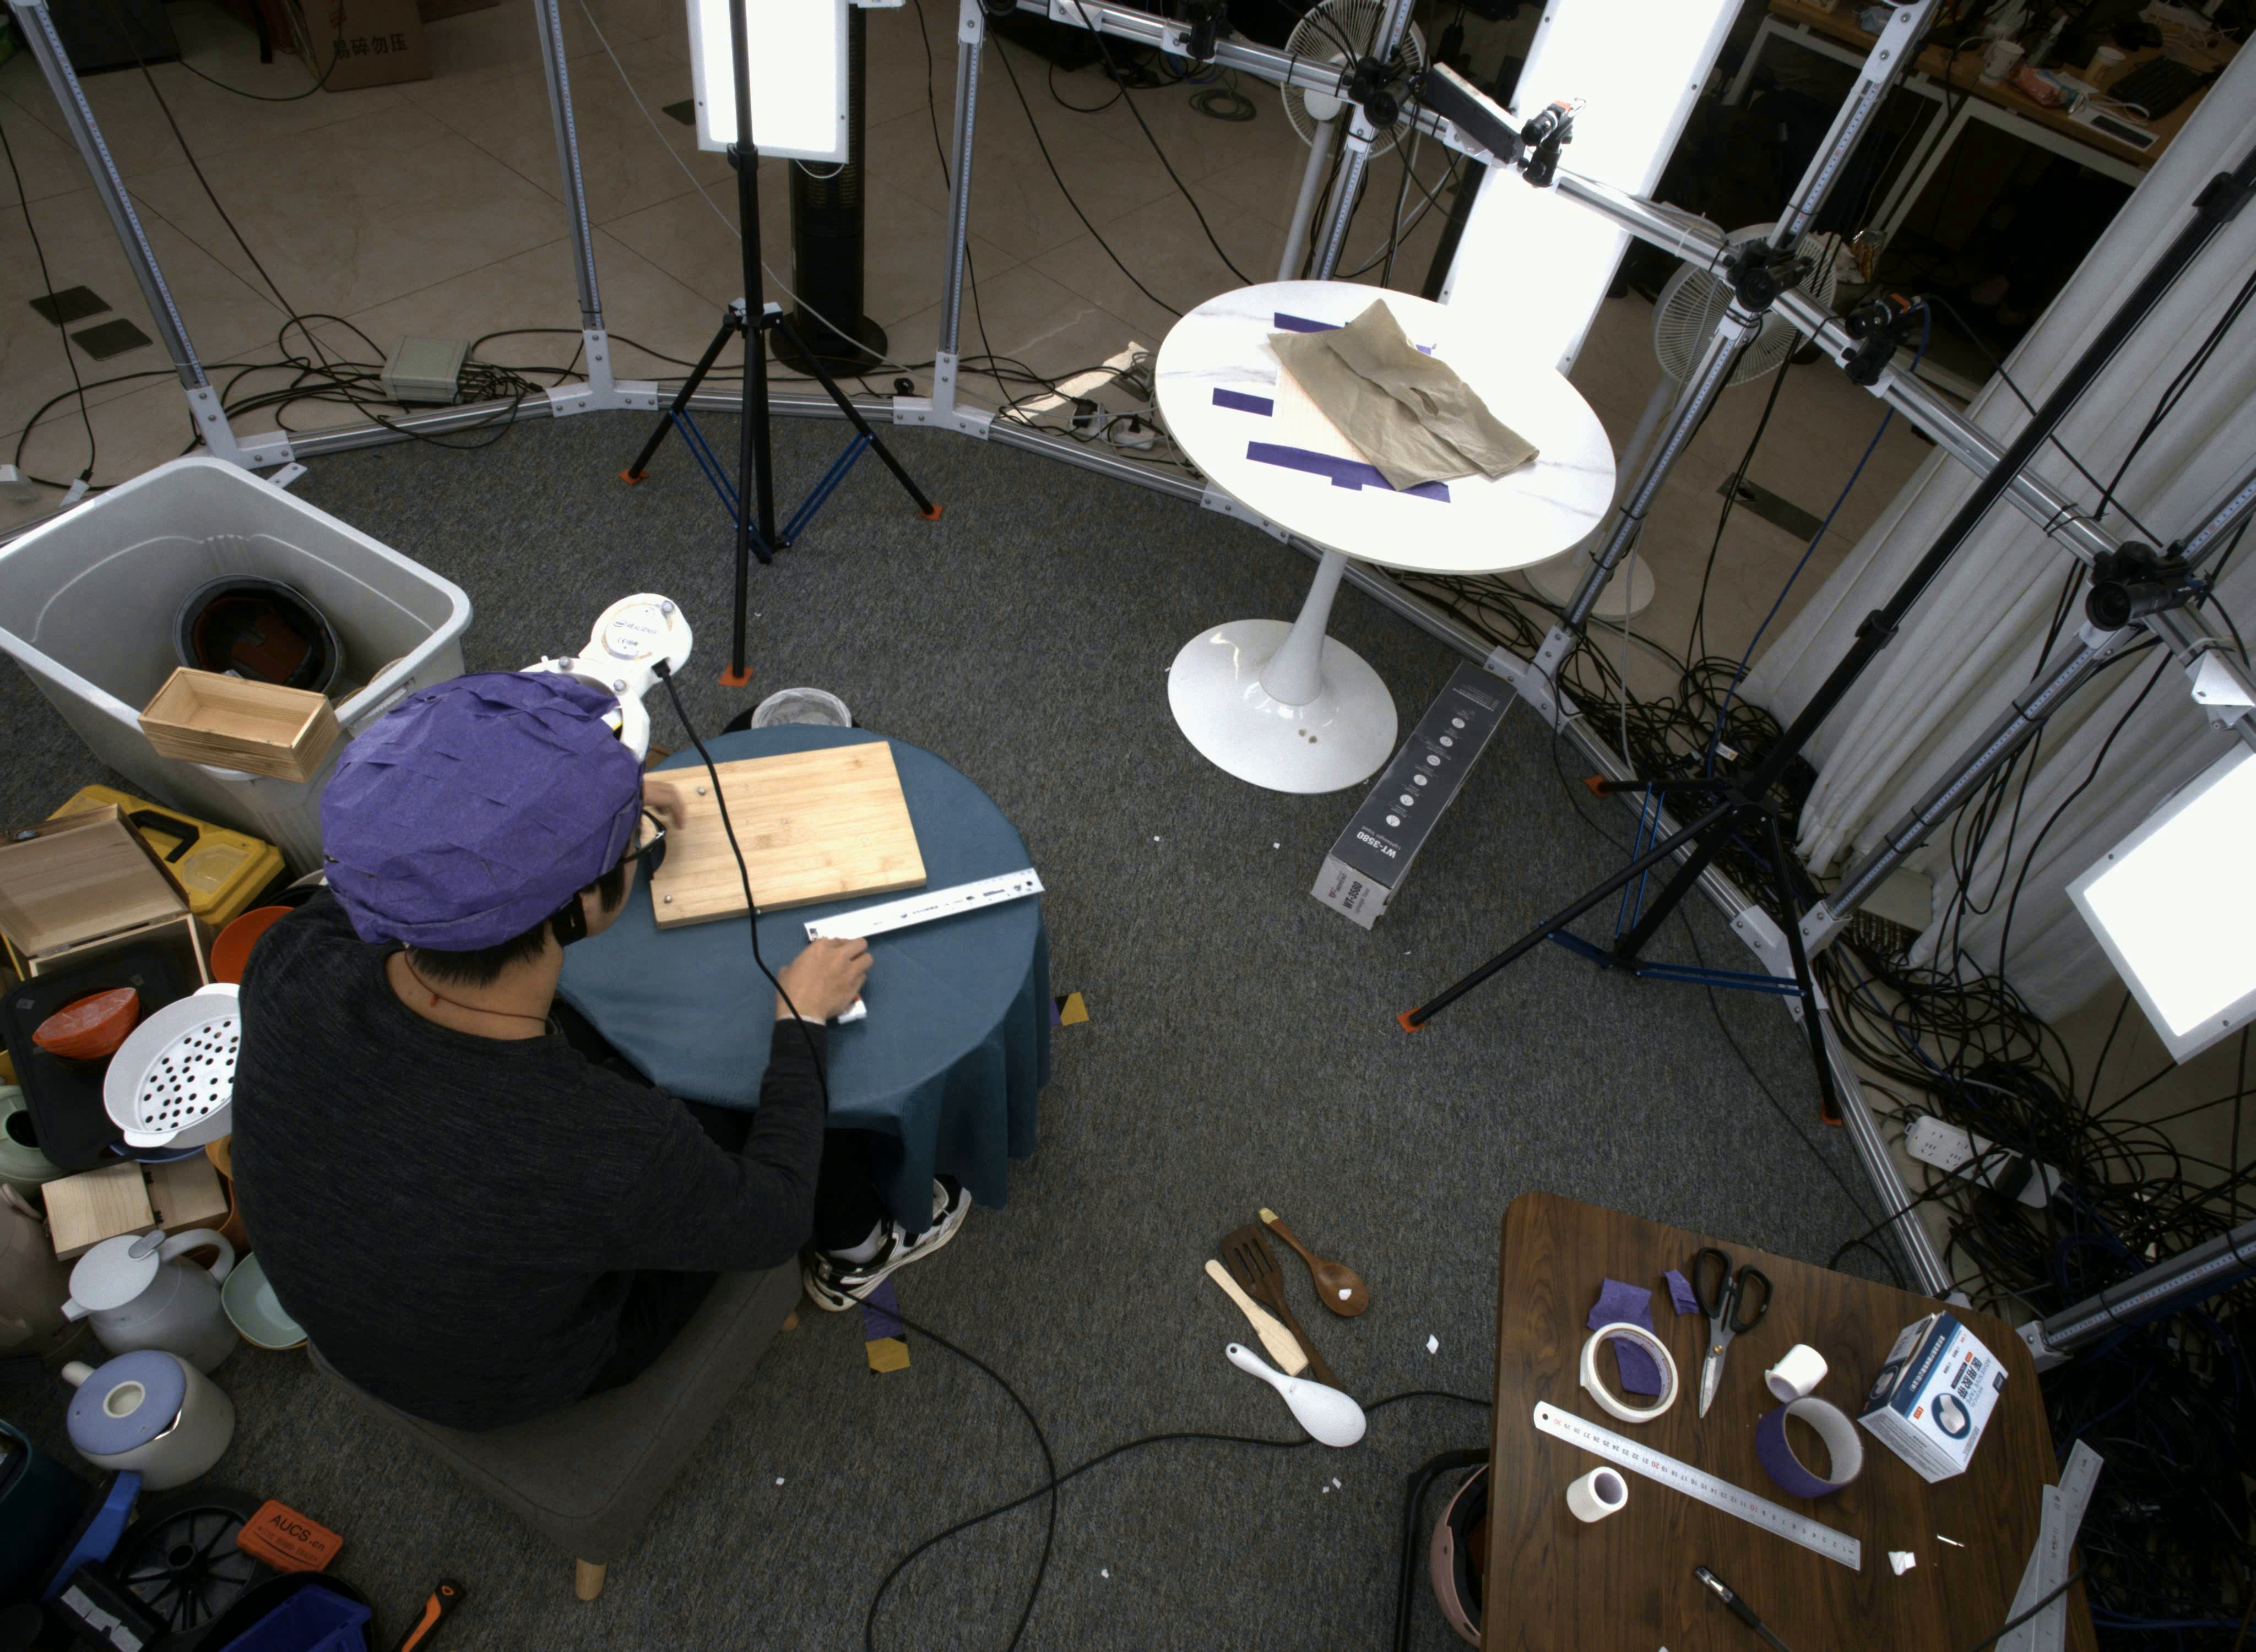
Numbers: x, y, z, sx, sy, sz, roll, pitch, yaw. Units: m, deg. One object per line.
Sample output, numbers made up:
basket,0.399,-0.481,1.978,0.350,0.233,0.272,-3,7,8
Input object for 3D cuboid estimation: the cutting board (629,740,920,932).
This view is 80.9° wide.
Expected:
cutting board,-0.463,0.005,1.695,0.350,0.024,0.244,-10,57,-22

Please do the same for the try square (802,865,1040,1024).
try square,-0.241,0.140,1.640,0.314,0.016,0.148,-14,57,-24
